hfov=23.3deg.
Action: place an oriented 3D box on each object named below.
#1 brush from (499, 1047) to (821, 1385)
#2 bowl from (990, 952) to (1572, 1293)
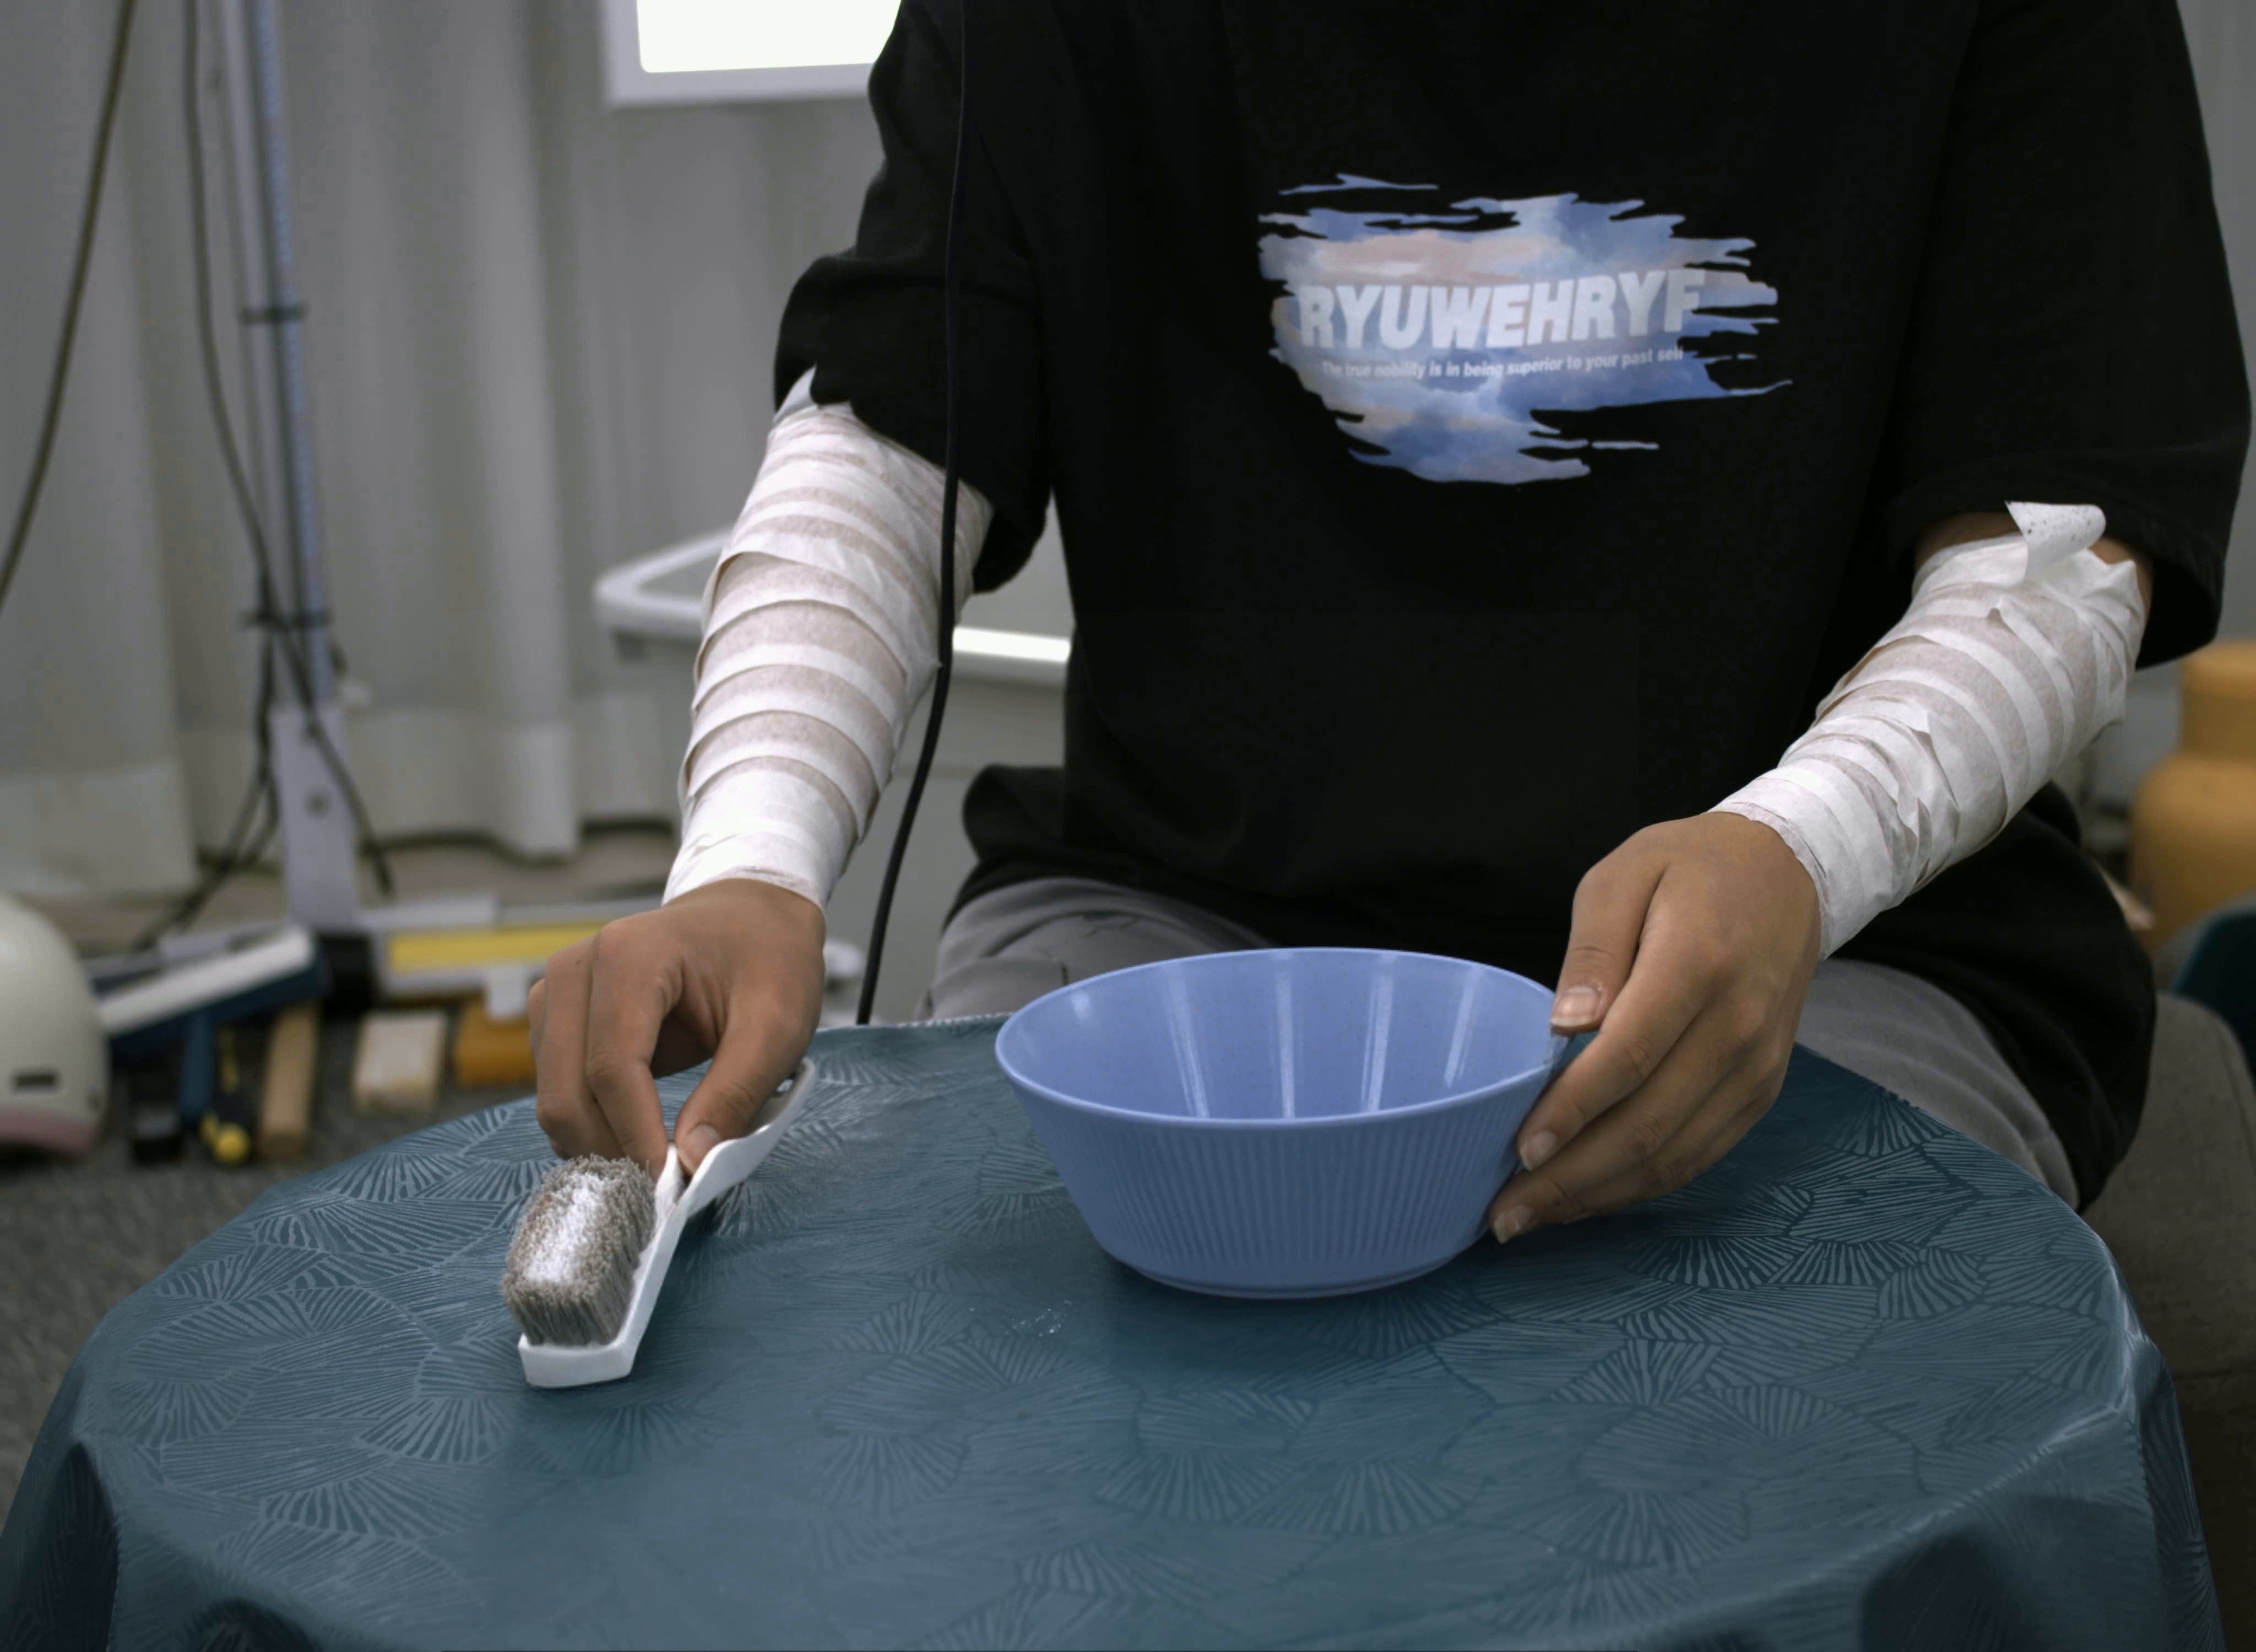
[{"bbox_3d":[-0.138,0.099,1.662,0.034,0.050,0.245,0,20,14],"label":"brush"},{"bbox_3d":[0.047,0.092,1.653,0.175,0.070,0.177,-2,14,0],"label":"bowl"}]
